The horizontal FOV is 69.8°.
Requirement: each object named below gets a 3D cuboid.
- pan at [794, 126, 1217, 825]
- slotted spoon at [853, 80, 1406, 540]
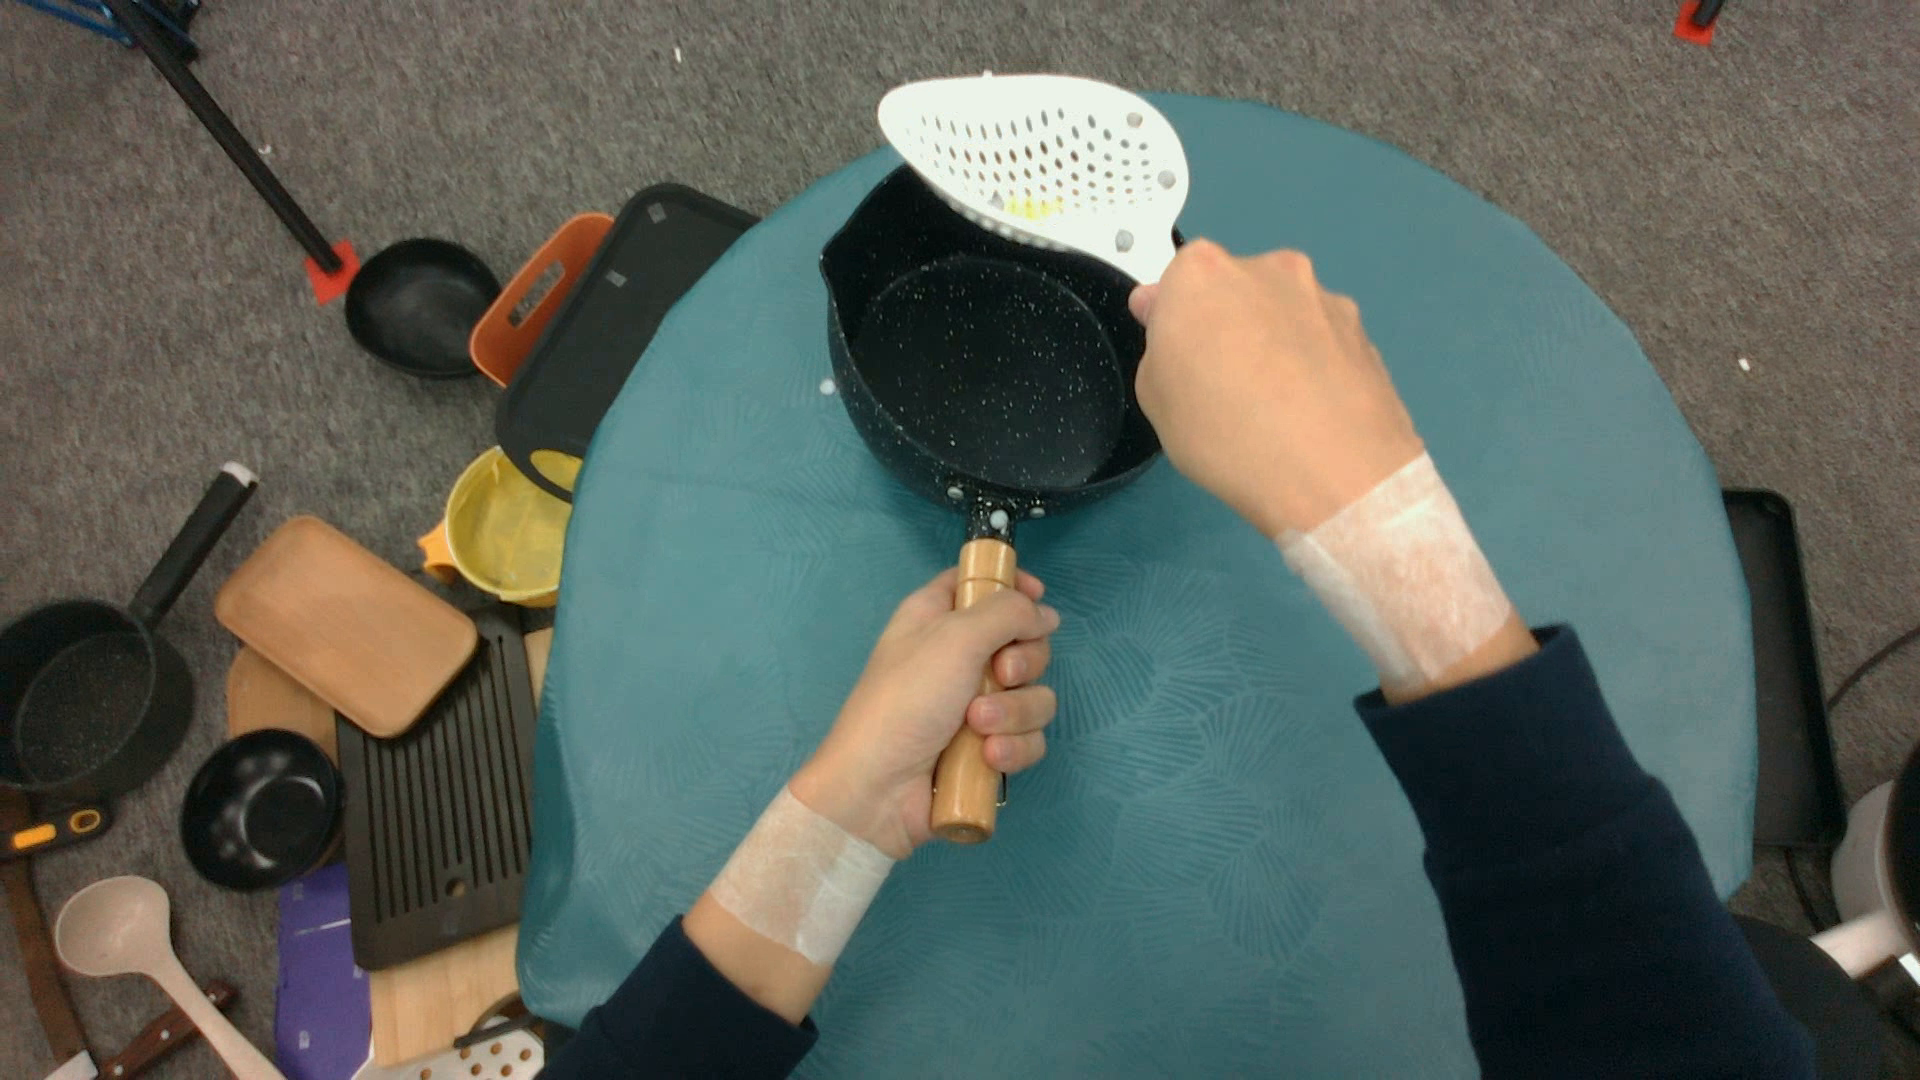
[{"bbox_3d":[0.010,-0.031,0.641,0.207,0.108,0.344,11,67,-11],"label":"pan"},{"bbox_3d":[0.062,-0.111,0.548,0.137,0.050,0.348,-8,35,-22],"label":"slotted spoon"}]
